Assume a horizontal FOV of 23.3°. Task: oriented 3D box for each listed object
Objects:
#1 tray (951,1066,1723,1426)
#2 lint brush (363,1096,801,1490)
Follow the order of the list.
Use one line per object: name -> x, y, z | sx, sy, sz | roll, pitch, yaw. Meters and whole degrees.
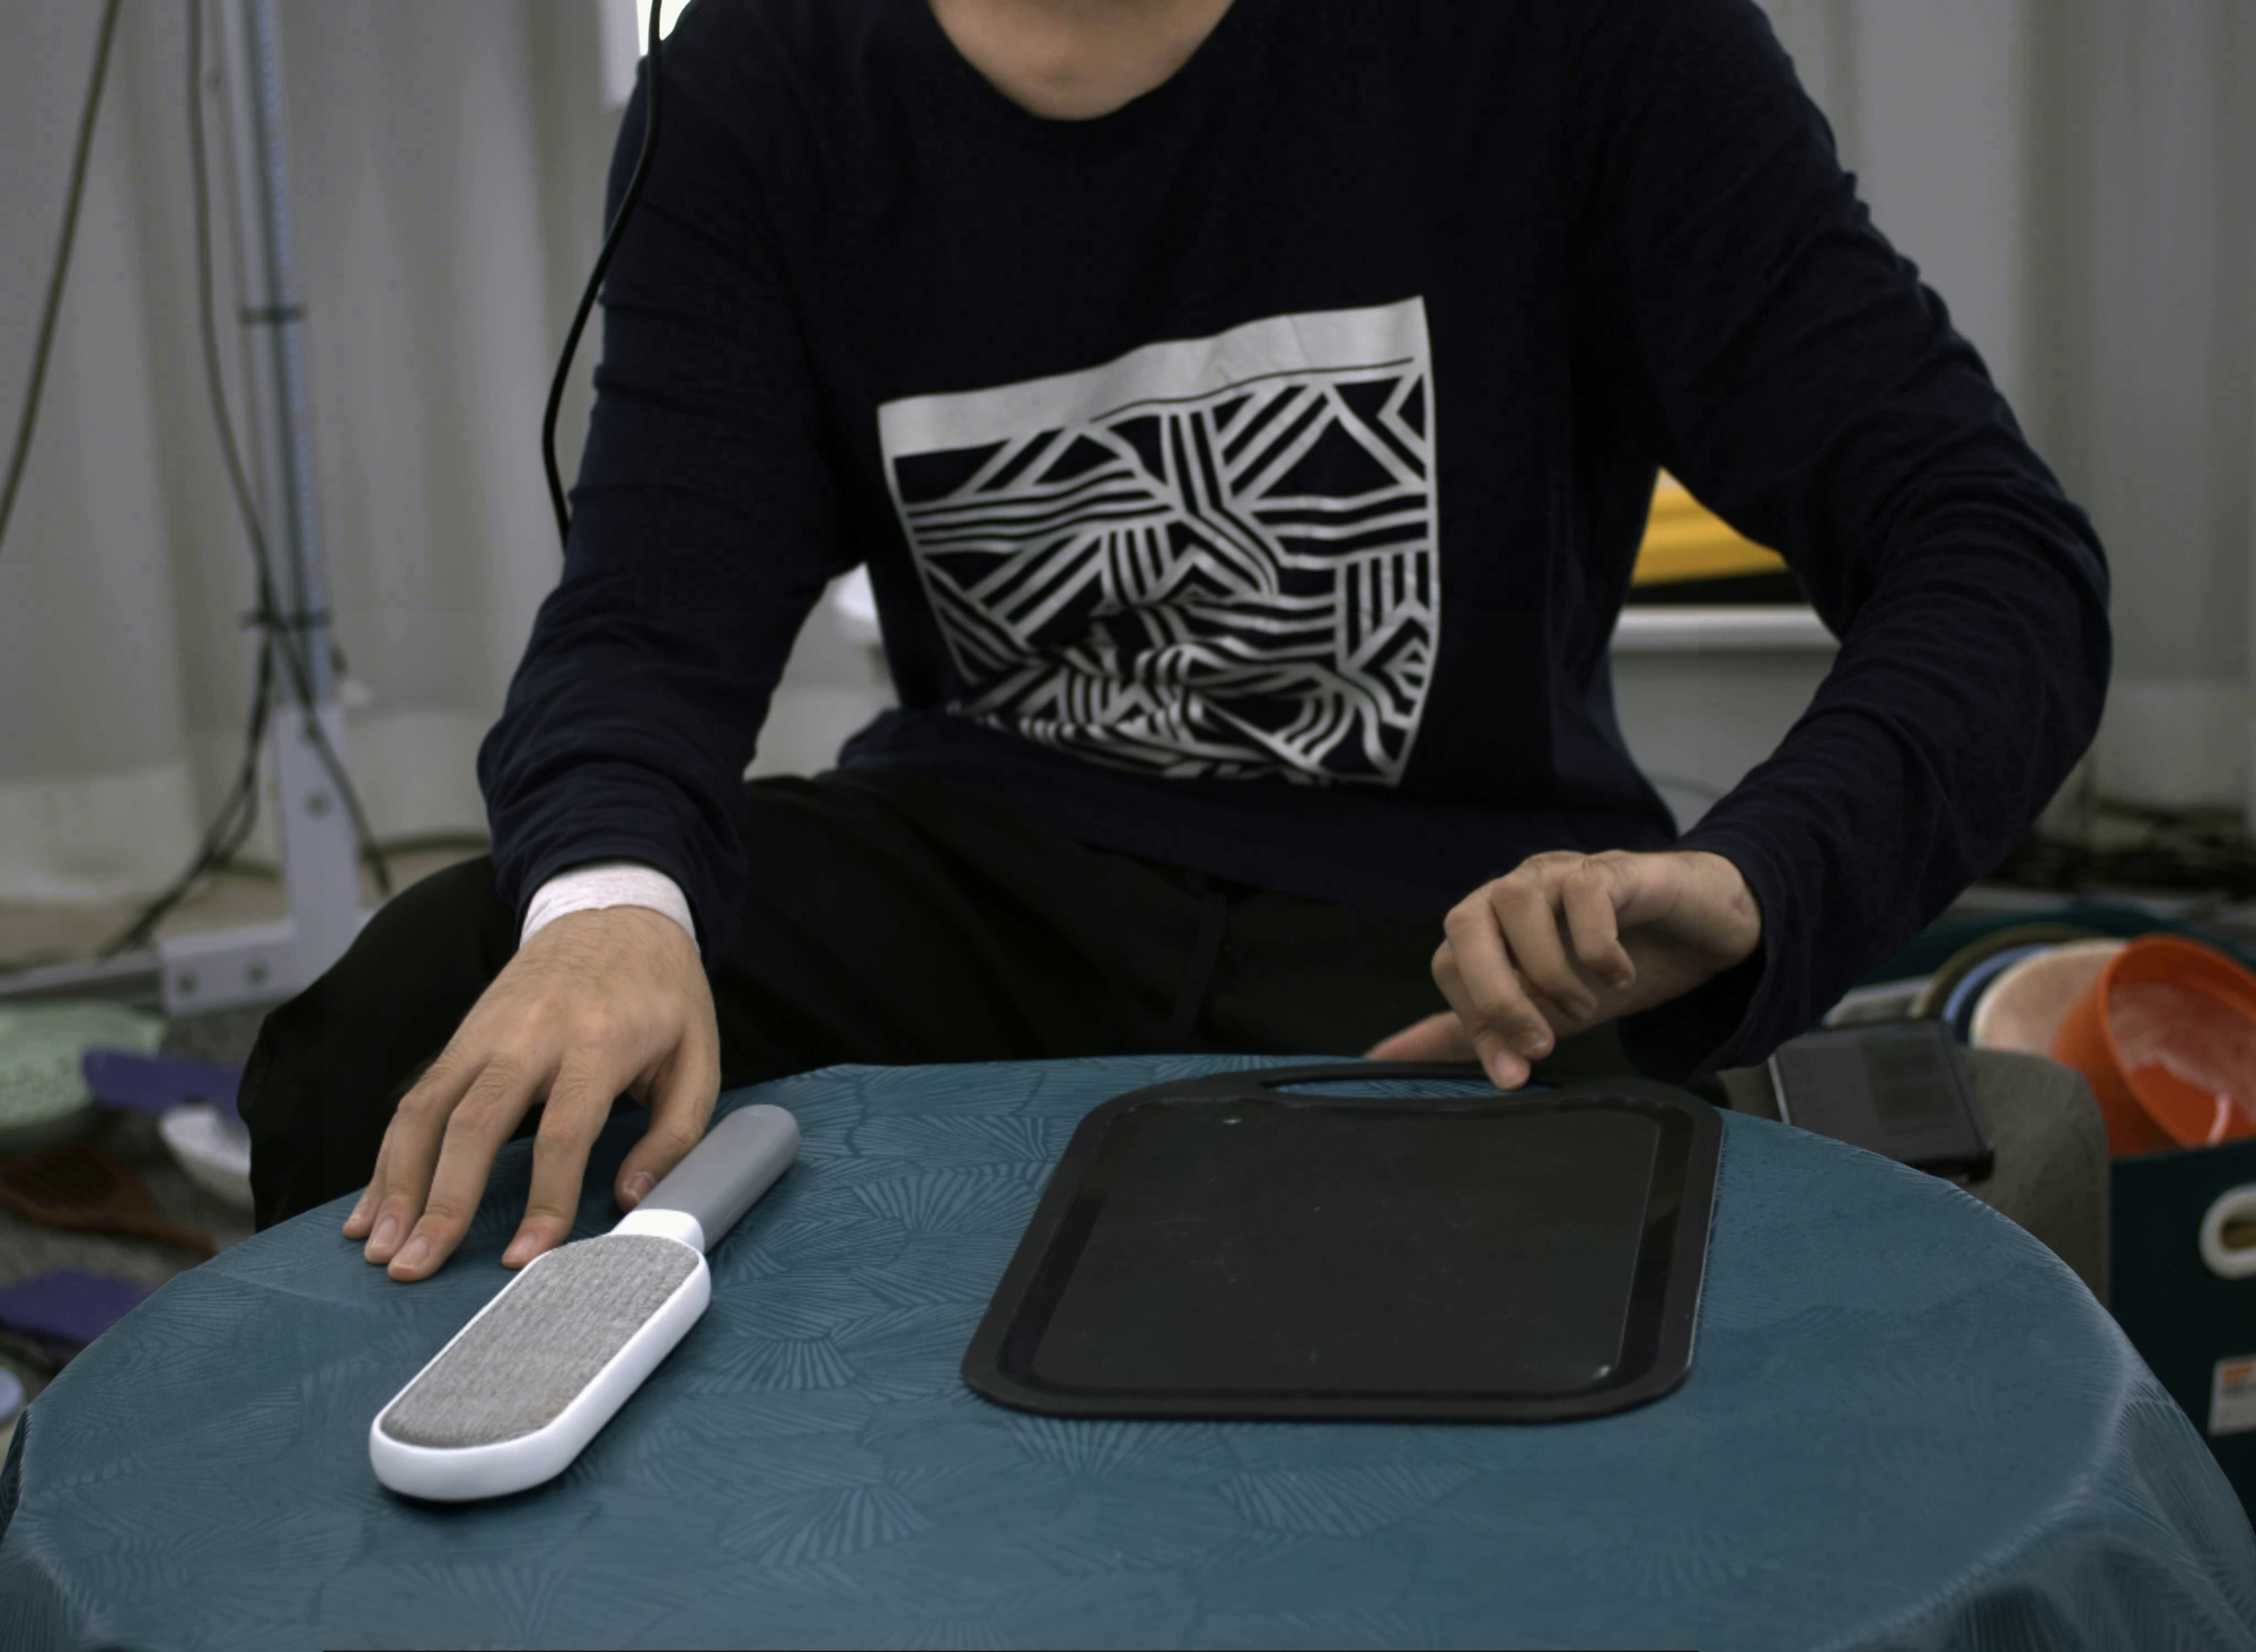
tray -> 0.071, 0.121, 1.668 | 0.211, 0.010, 0.327 | 0, 15, 10
lint brush -> -0.150, 0.134, 1.620 | 0.060, 0.021, 0.310 | -4, 14, 15
